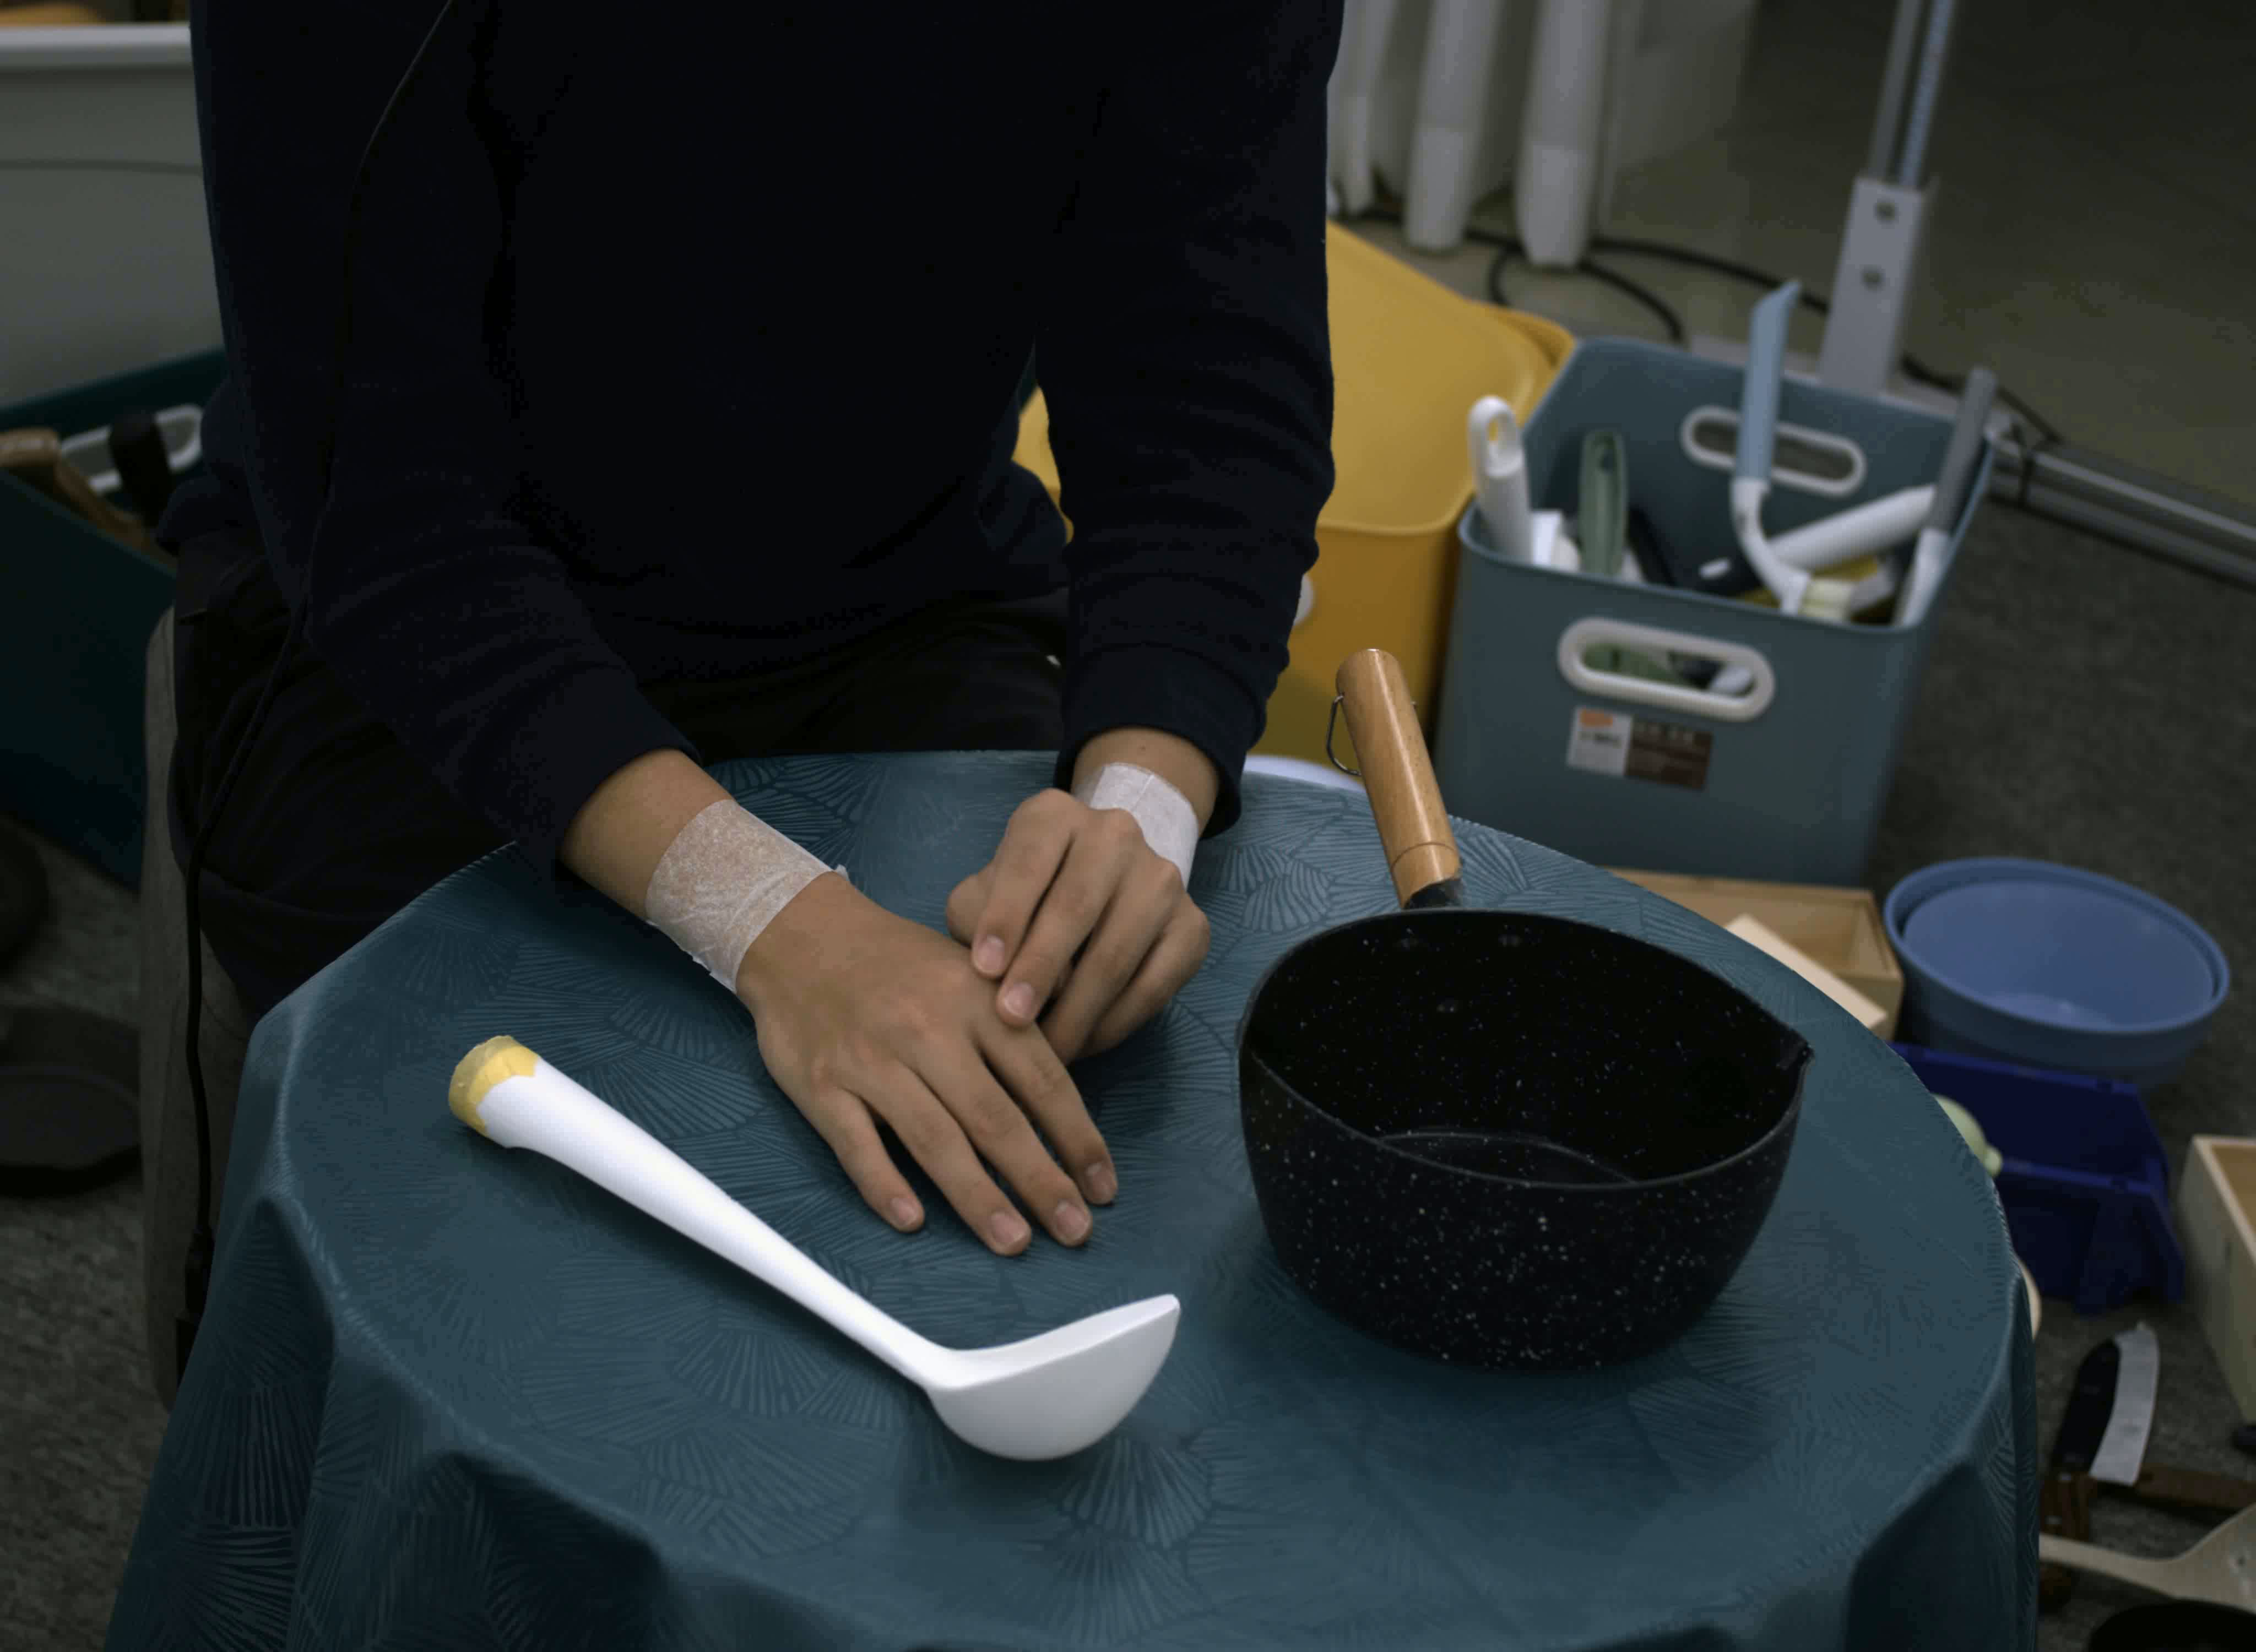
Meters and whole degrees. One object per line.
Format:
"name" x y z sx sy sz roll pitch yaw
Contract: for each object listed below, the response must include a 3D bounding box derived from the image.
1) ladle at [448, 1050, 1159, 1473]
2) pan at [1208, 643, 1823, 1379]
"ladle" -0.113 0.127 1.699 0.295 0.069 0.090 27 39 36
"pan" 0.112 0.060 1.833 0.206 0.108 0.345 -1 29 -12
